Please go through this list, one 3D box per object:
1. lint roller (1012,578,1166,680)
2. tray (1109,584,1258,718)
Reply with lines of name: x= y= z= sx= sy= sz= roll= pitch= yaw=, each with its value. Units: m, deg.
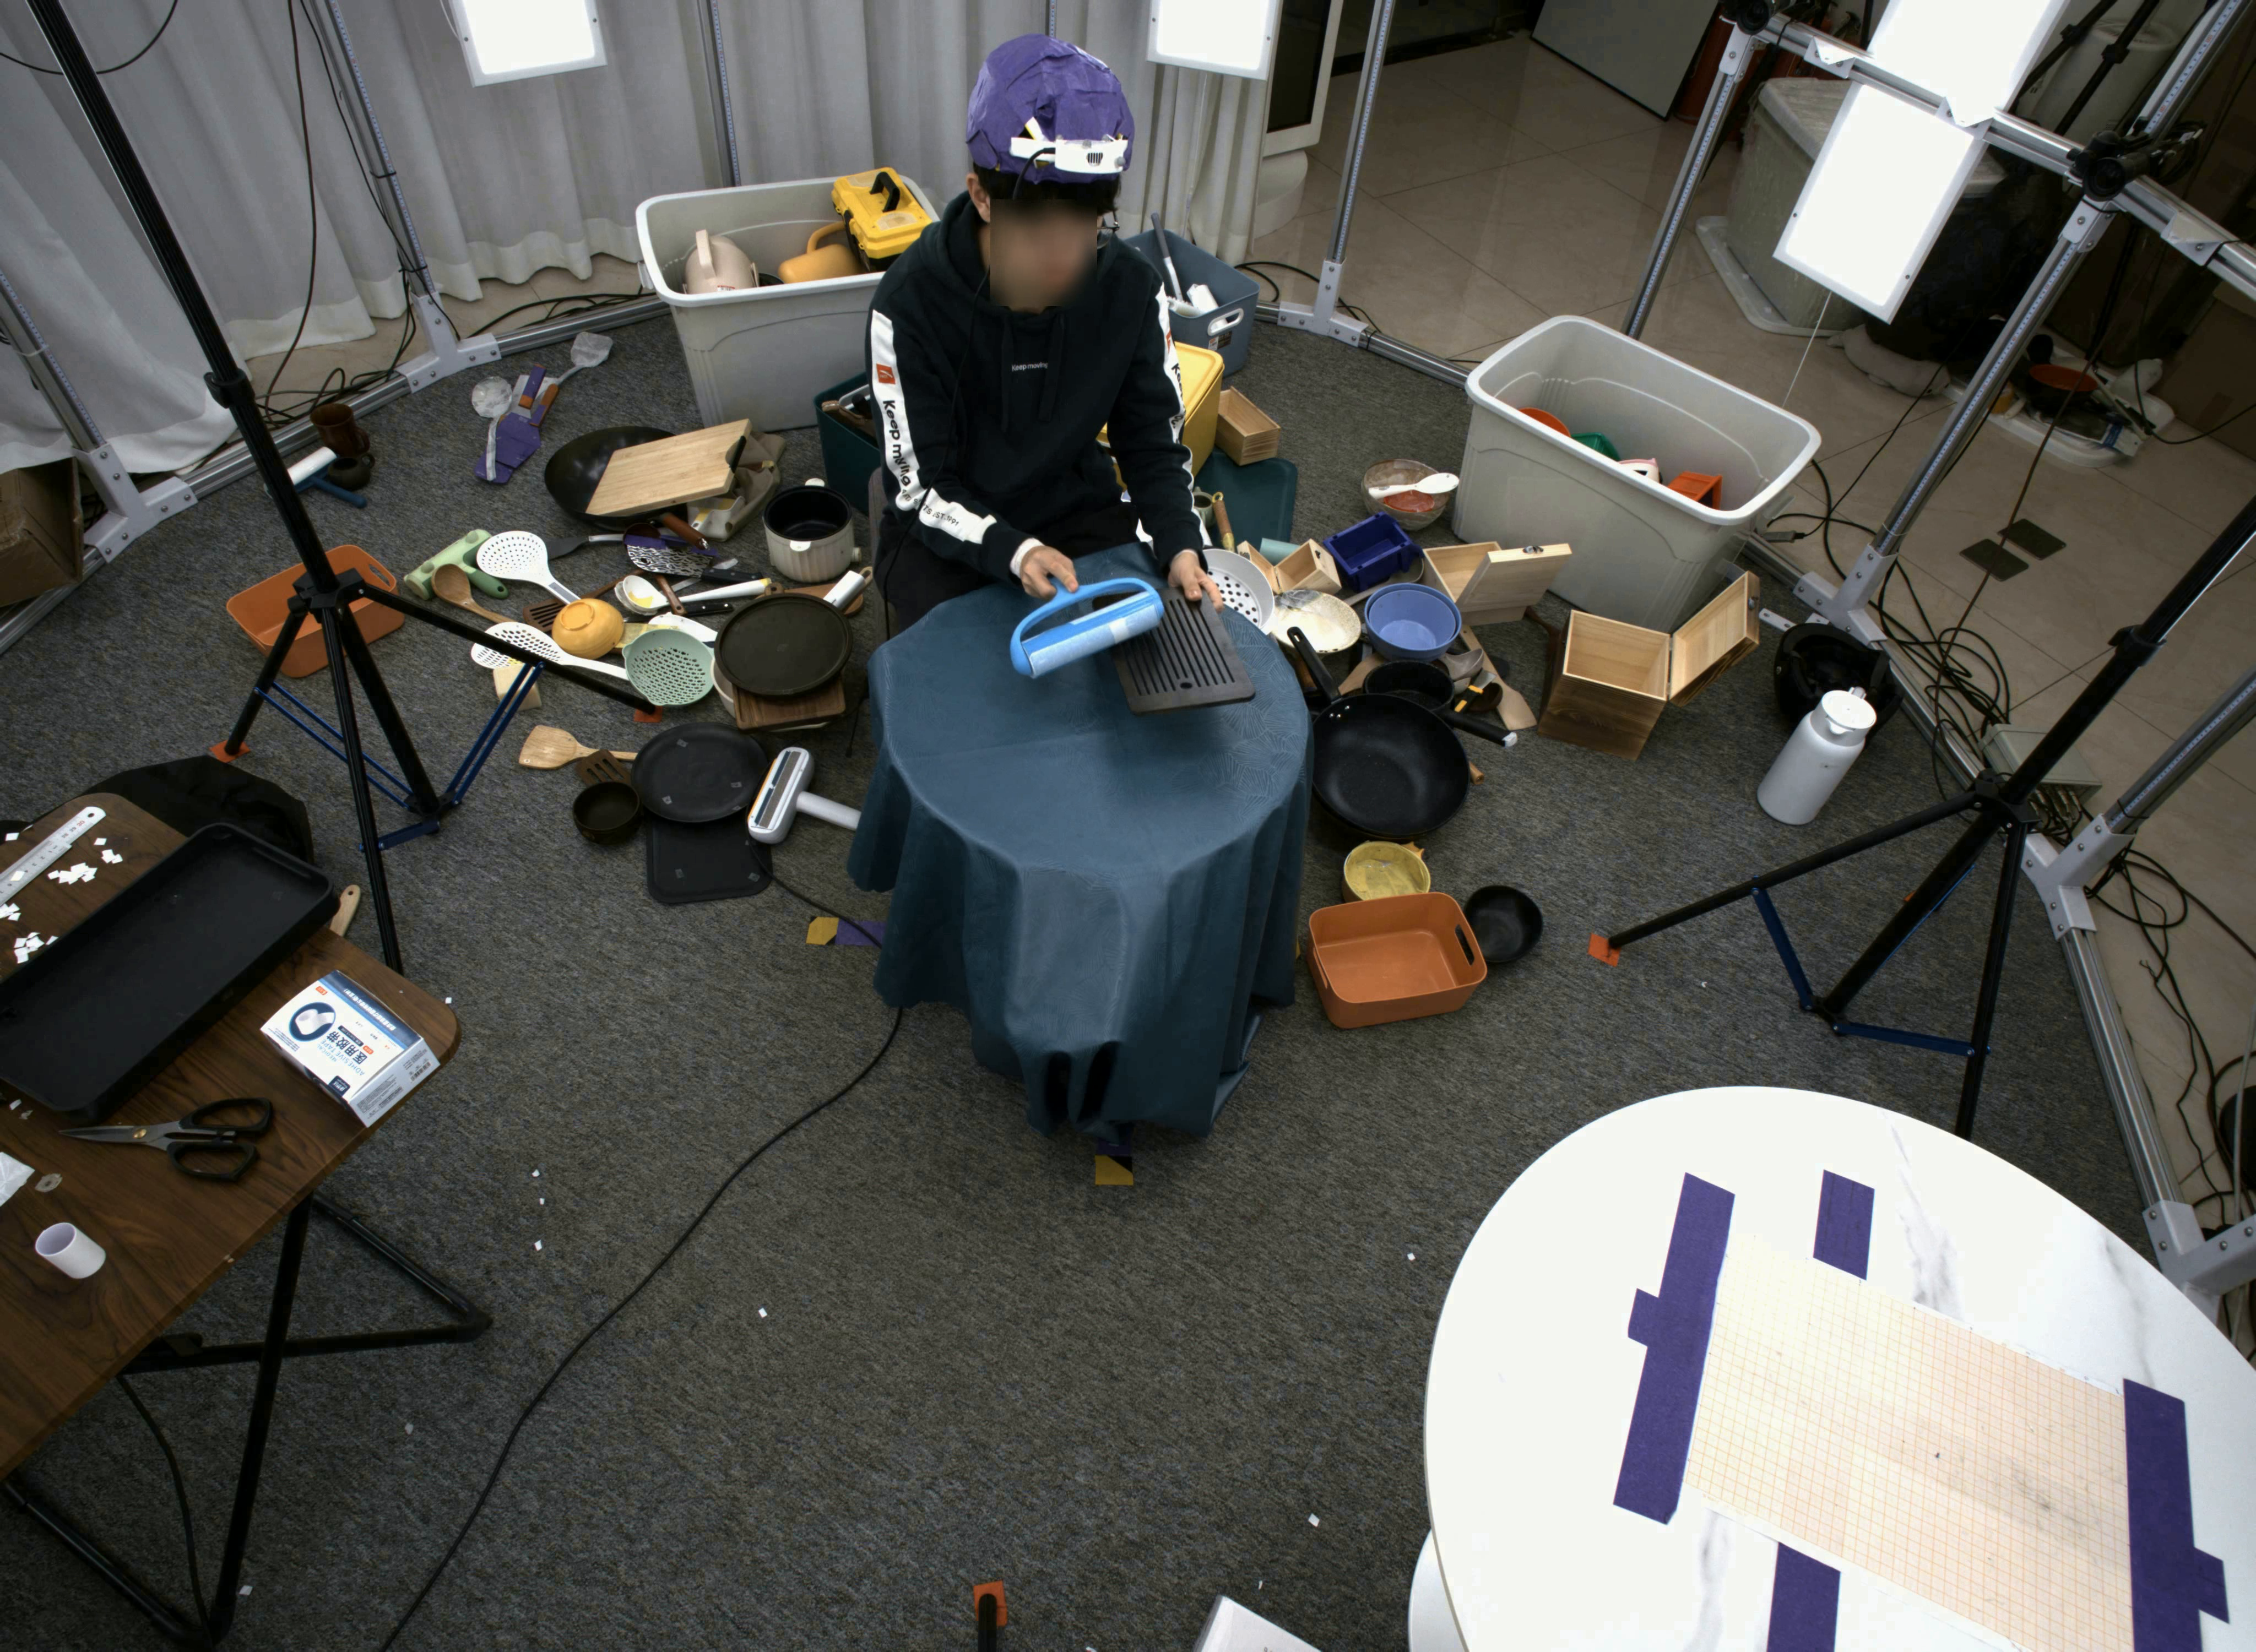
lint roller: x=-0.081 y=-0.305 z=1.805 sx=0.229 sy=0.066 sz=0.184 roll=-28 pitch=55 yaw=-13
tray: x=0.061 y=-0.248 z=1.793 sx=0.170 sy=0.018 sz=0.313 roll=-9 pitch=40 yaw=-7
